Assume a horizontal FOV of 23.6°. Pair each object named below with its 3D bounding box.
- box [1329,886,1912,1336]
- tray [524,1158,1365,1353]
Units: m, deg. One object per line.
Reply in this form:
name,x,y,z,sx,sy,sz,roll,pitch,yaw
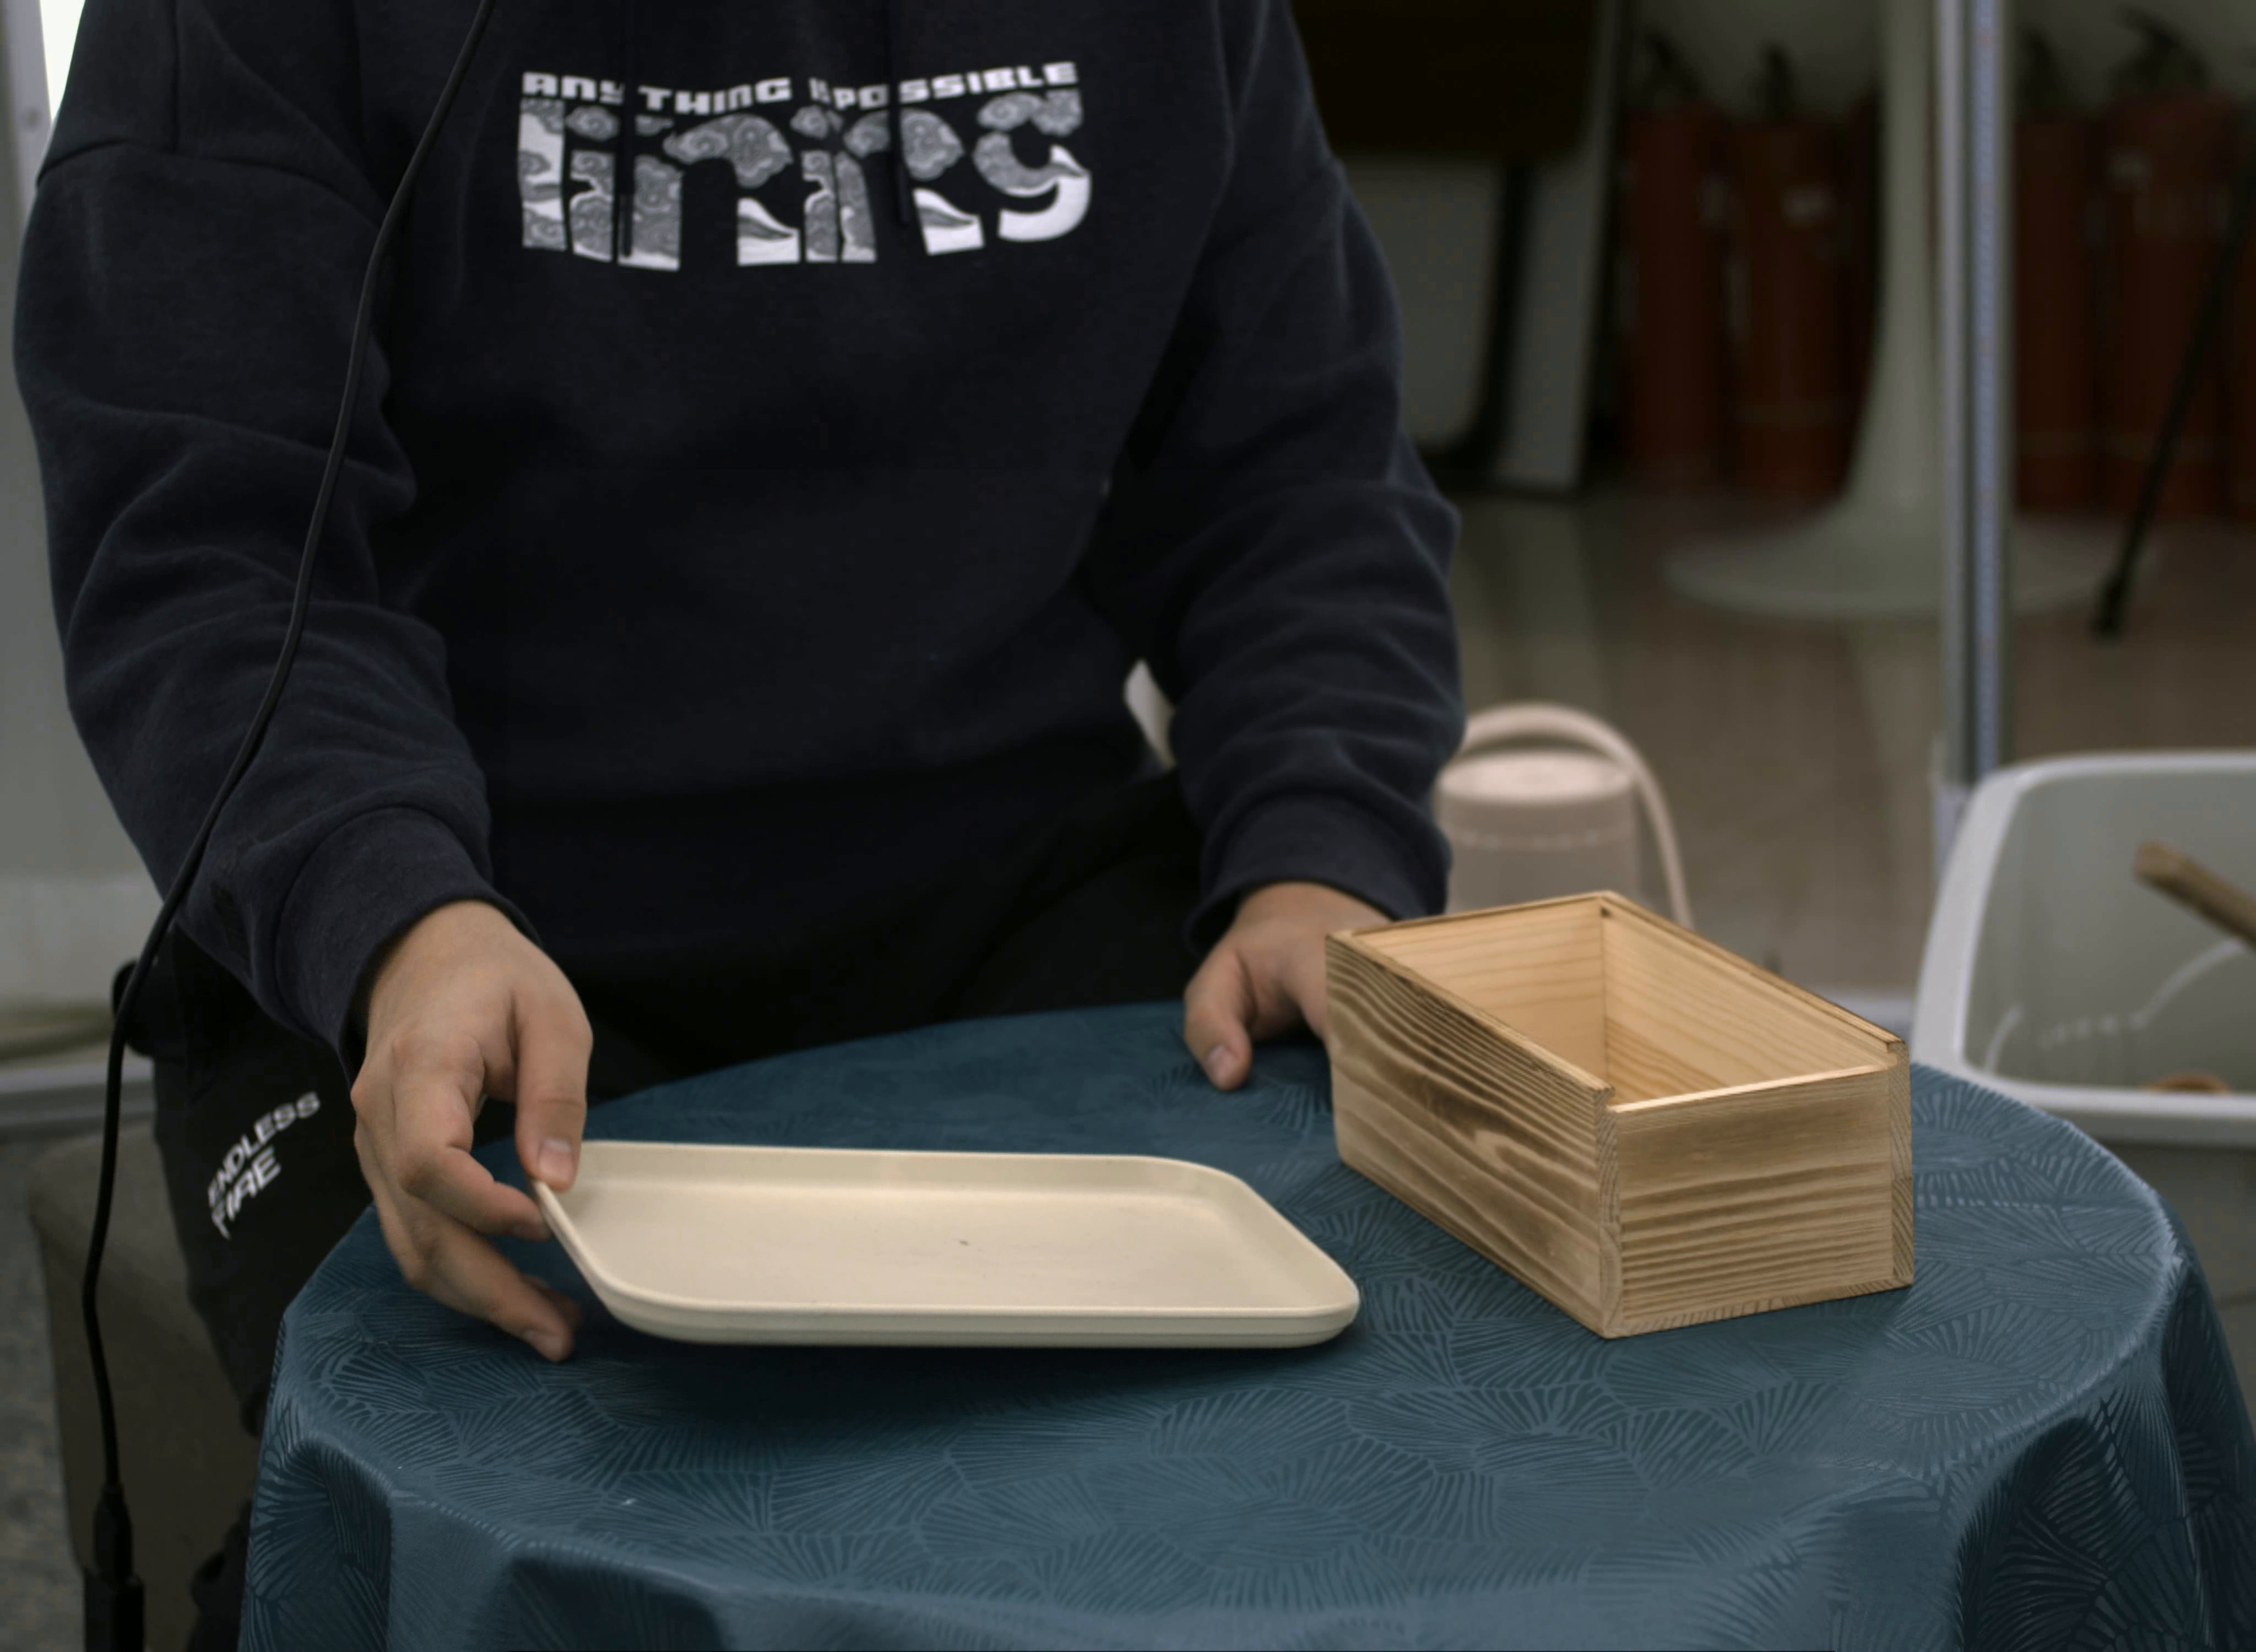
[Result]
box,0.152,0.086,1.705,0.105,0.081,0.213,-8,14,-19
tray,-0.058,0.131,1.647,0.235,0.018,0.172,1,11,-17
